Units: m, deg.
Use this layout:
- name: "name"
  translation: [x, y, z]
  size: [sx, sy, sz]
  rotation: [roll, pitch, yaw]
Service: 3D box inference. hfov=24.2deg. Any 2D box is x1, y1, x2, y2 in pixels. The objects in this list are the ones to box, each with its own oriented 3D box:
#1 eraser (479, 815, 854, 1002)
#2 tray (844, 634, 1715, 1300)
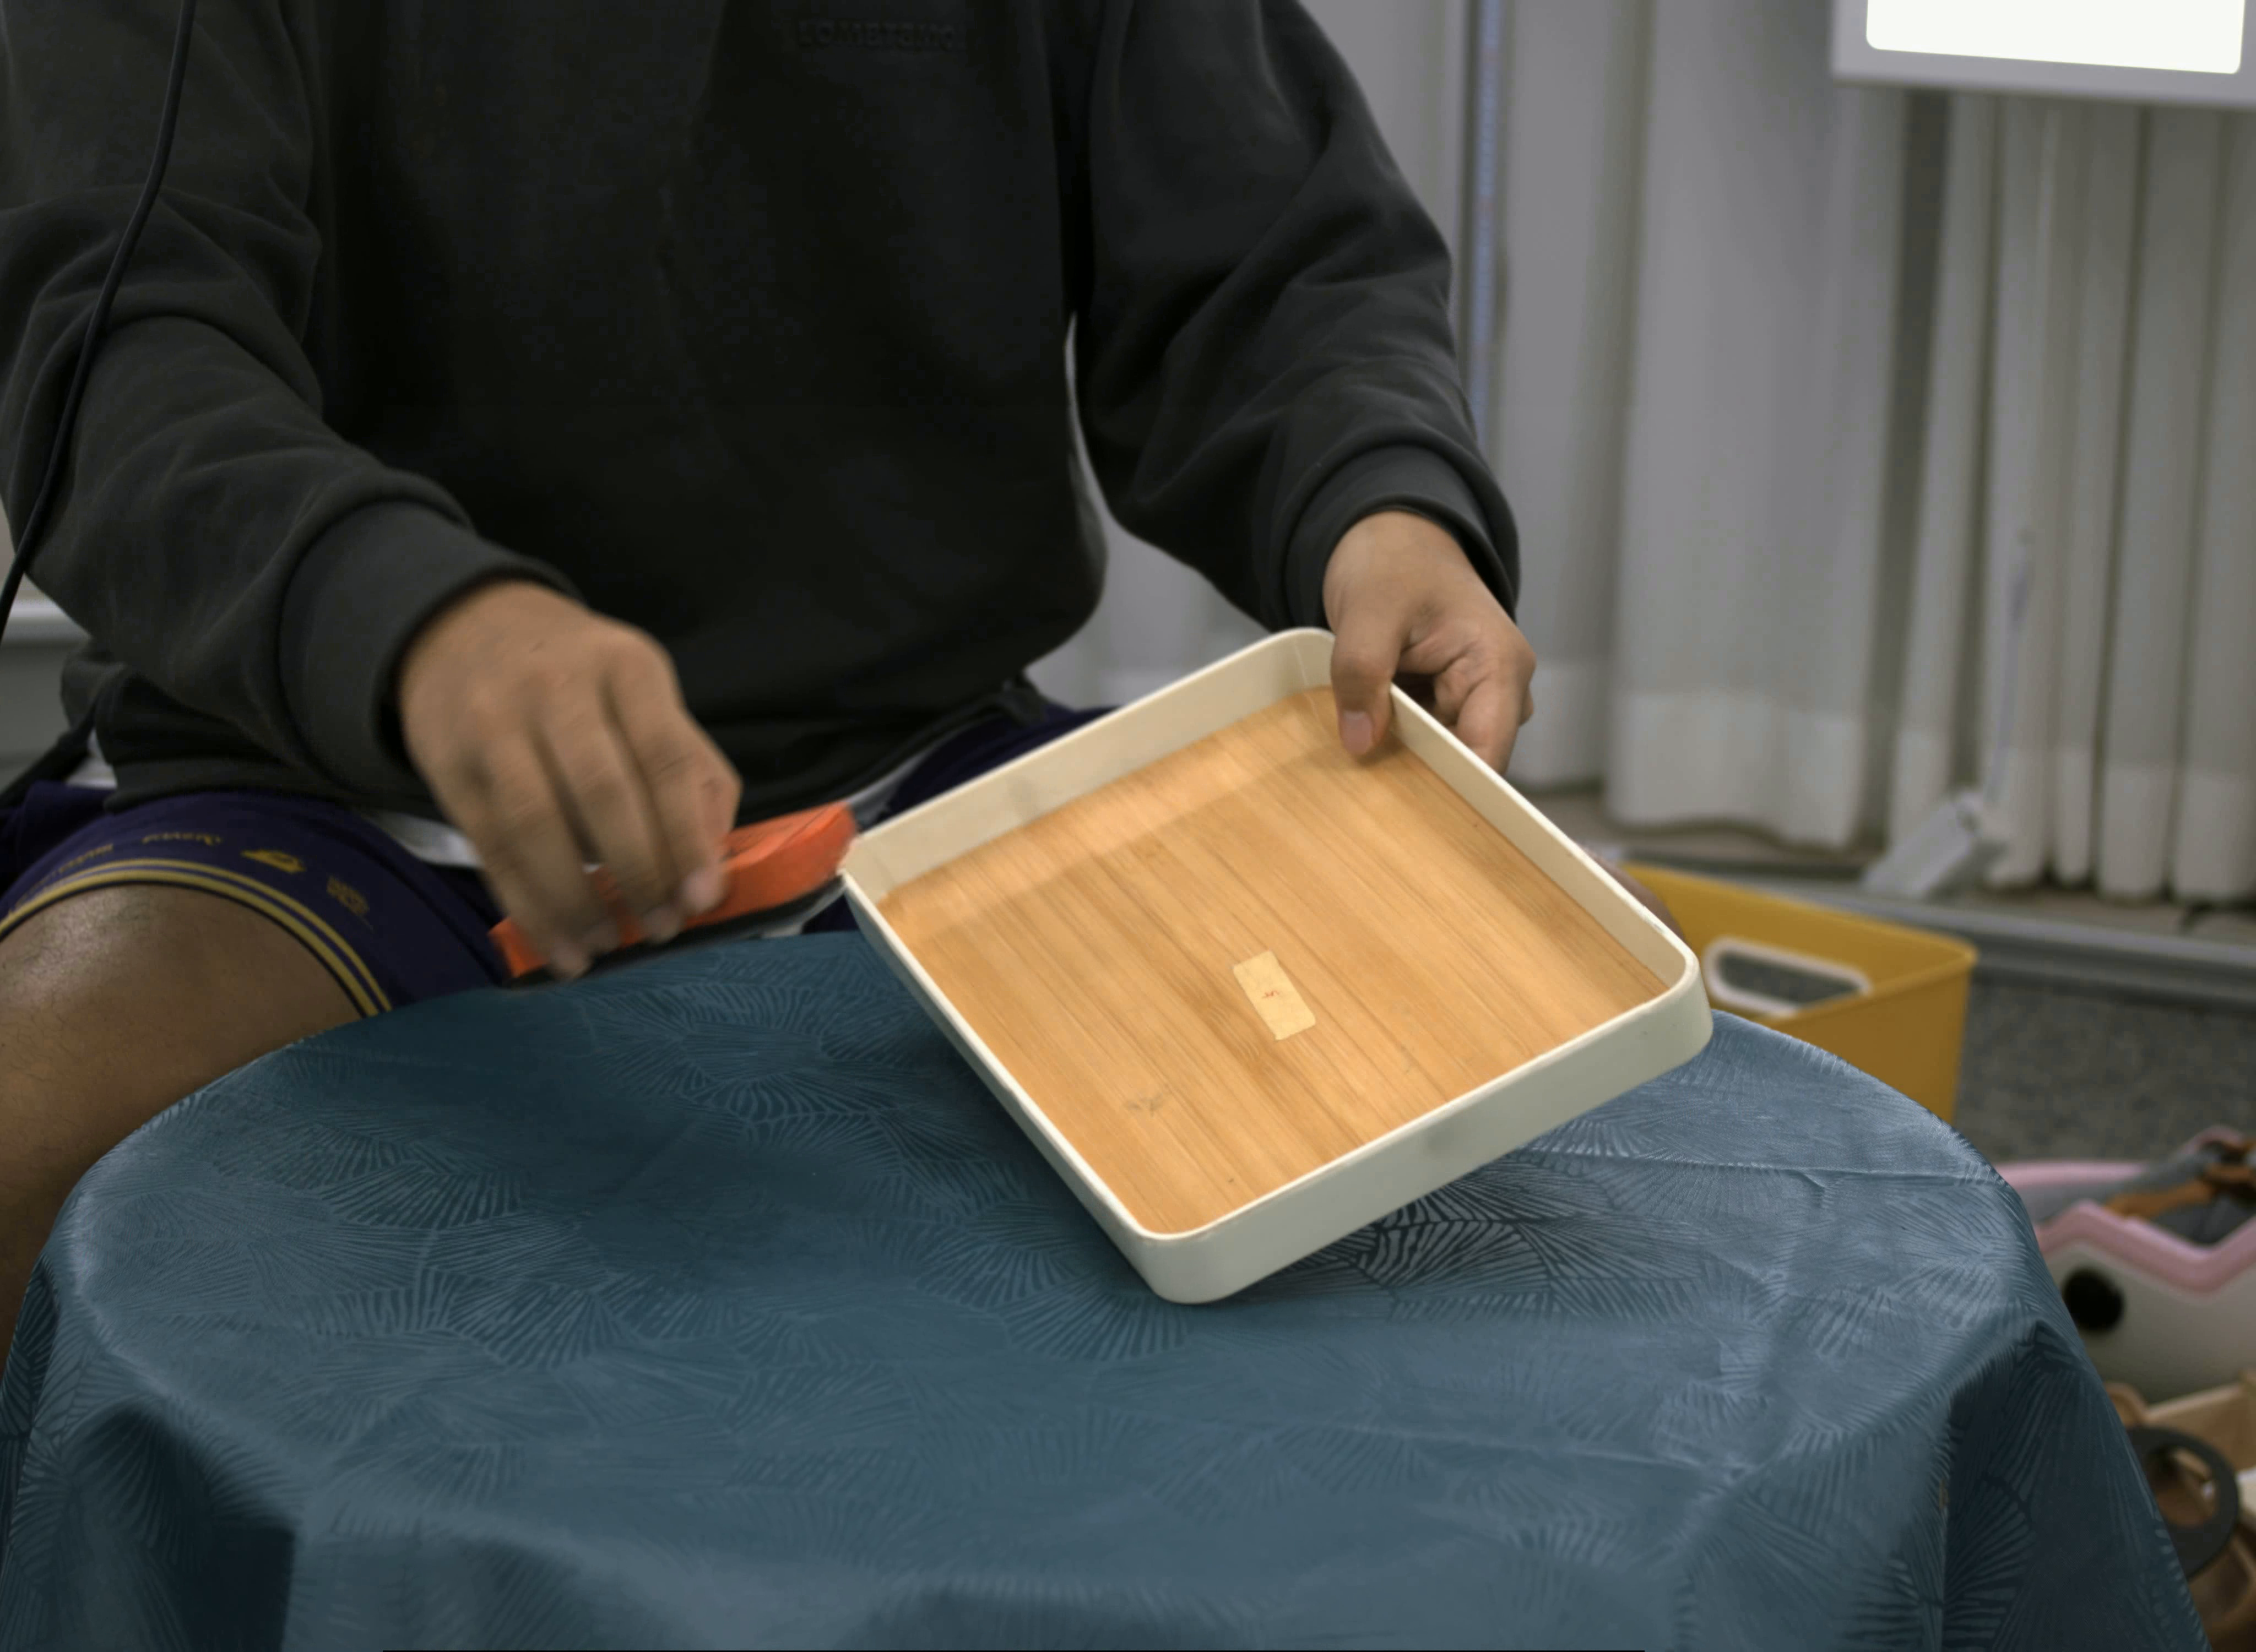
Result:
- name: "eraser"
  translation: [-0.140, 0.025, 1.595]
  size: [0.107, 0.023, 0.059]
  rotation: [-14, 12, 27]
- name: "tray"
  translation: [0.040, 0.037, 1.656]
  size: [0.191, 0.028, 0.296]
  rotation: [-26, 30, -11]
